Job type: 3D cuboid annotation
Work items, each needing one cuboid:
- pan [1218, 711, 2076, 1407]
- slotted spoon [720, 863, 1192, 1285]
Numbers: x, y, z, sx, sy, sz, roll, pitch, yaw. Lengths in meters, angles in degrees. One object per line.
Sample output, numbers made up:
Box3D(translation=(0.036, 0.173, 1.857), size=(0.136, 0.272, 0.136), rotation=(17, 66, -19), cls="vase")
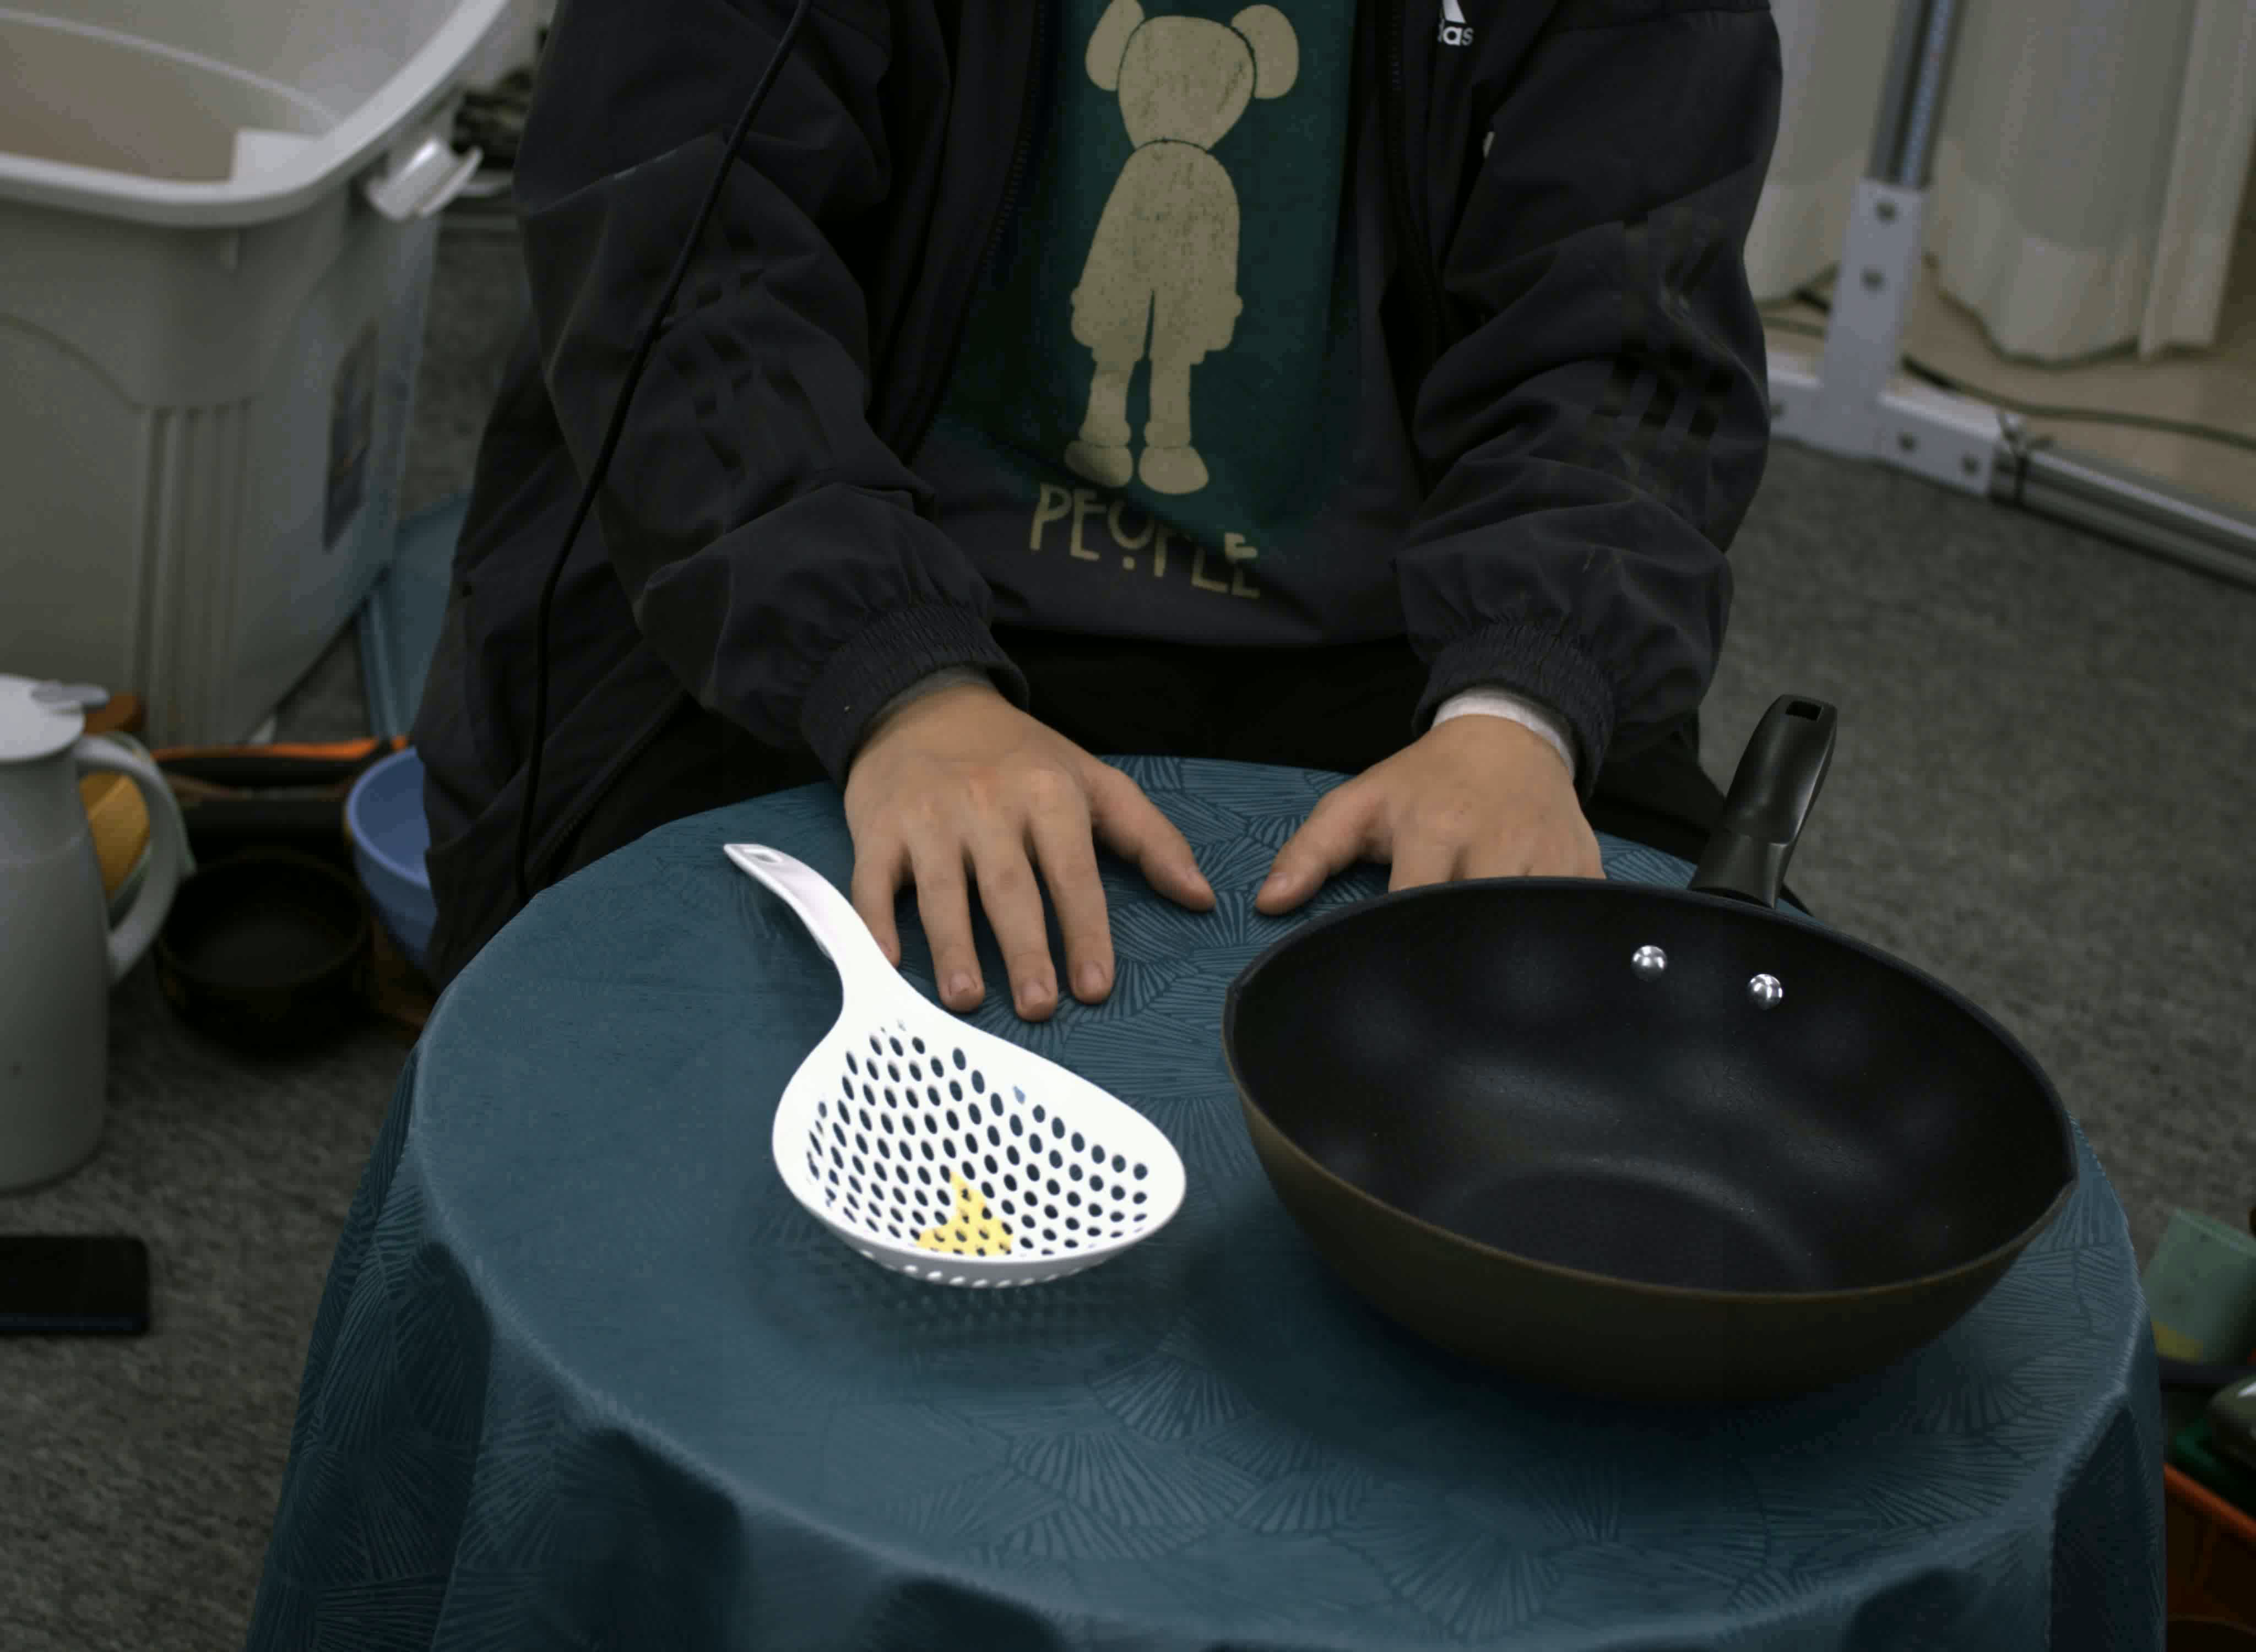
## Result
Box3D(translation=(0.191, 0.078, 1.846), size=(0.288, 0.086, 0.464), rotation=(13, 26, 12), cls="pan")
Box3D(translation=(-0.084, 0.073, 1.841), size=(0.136, 0.050, 0.351), rotation=(-5, 29, -18), cls="slotted spoon")
